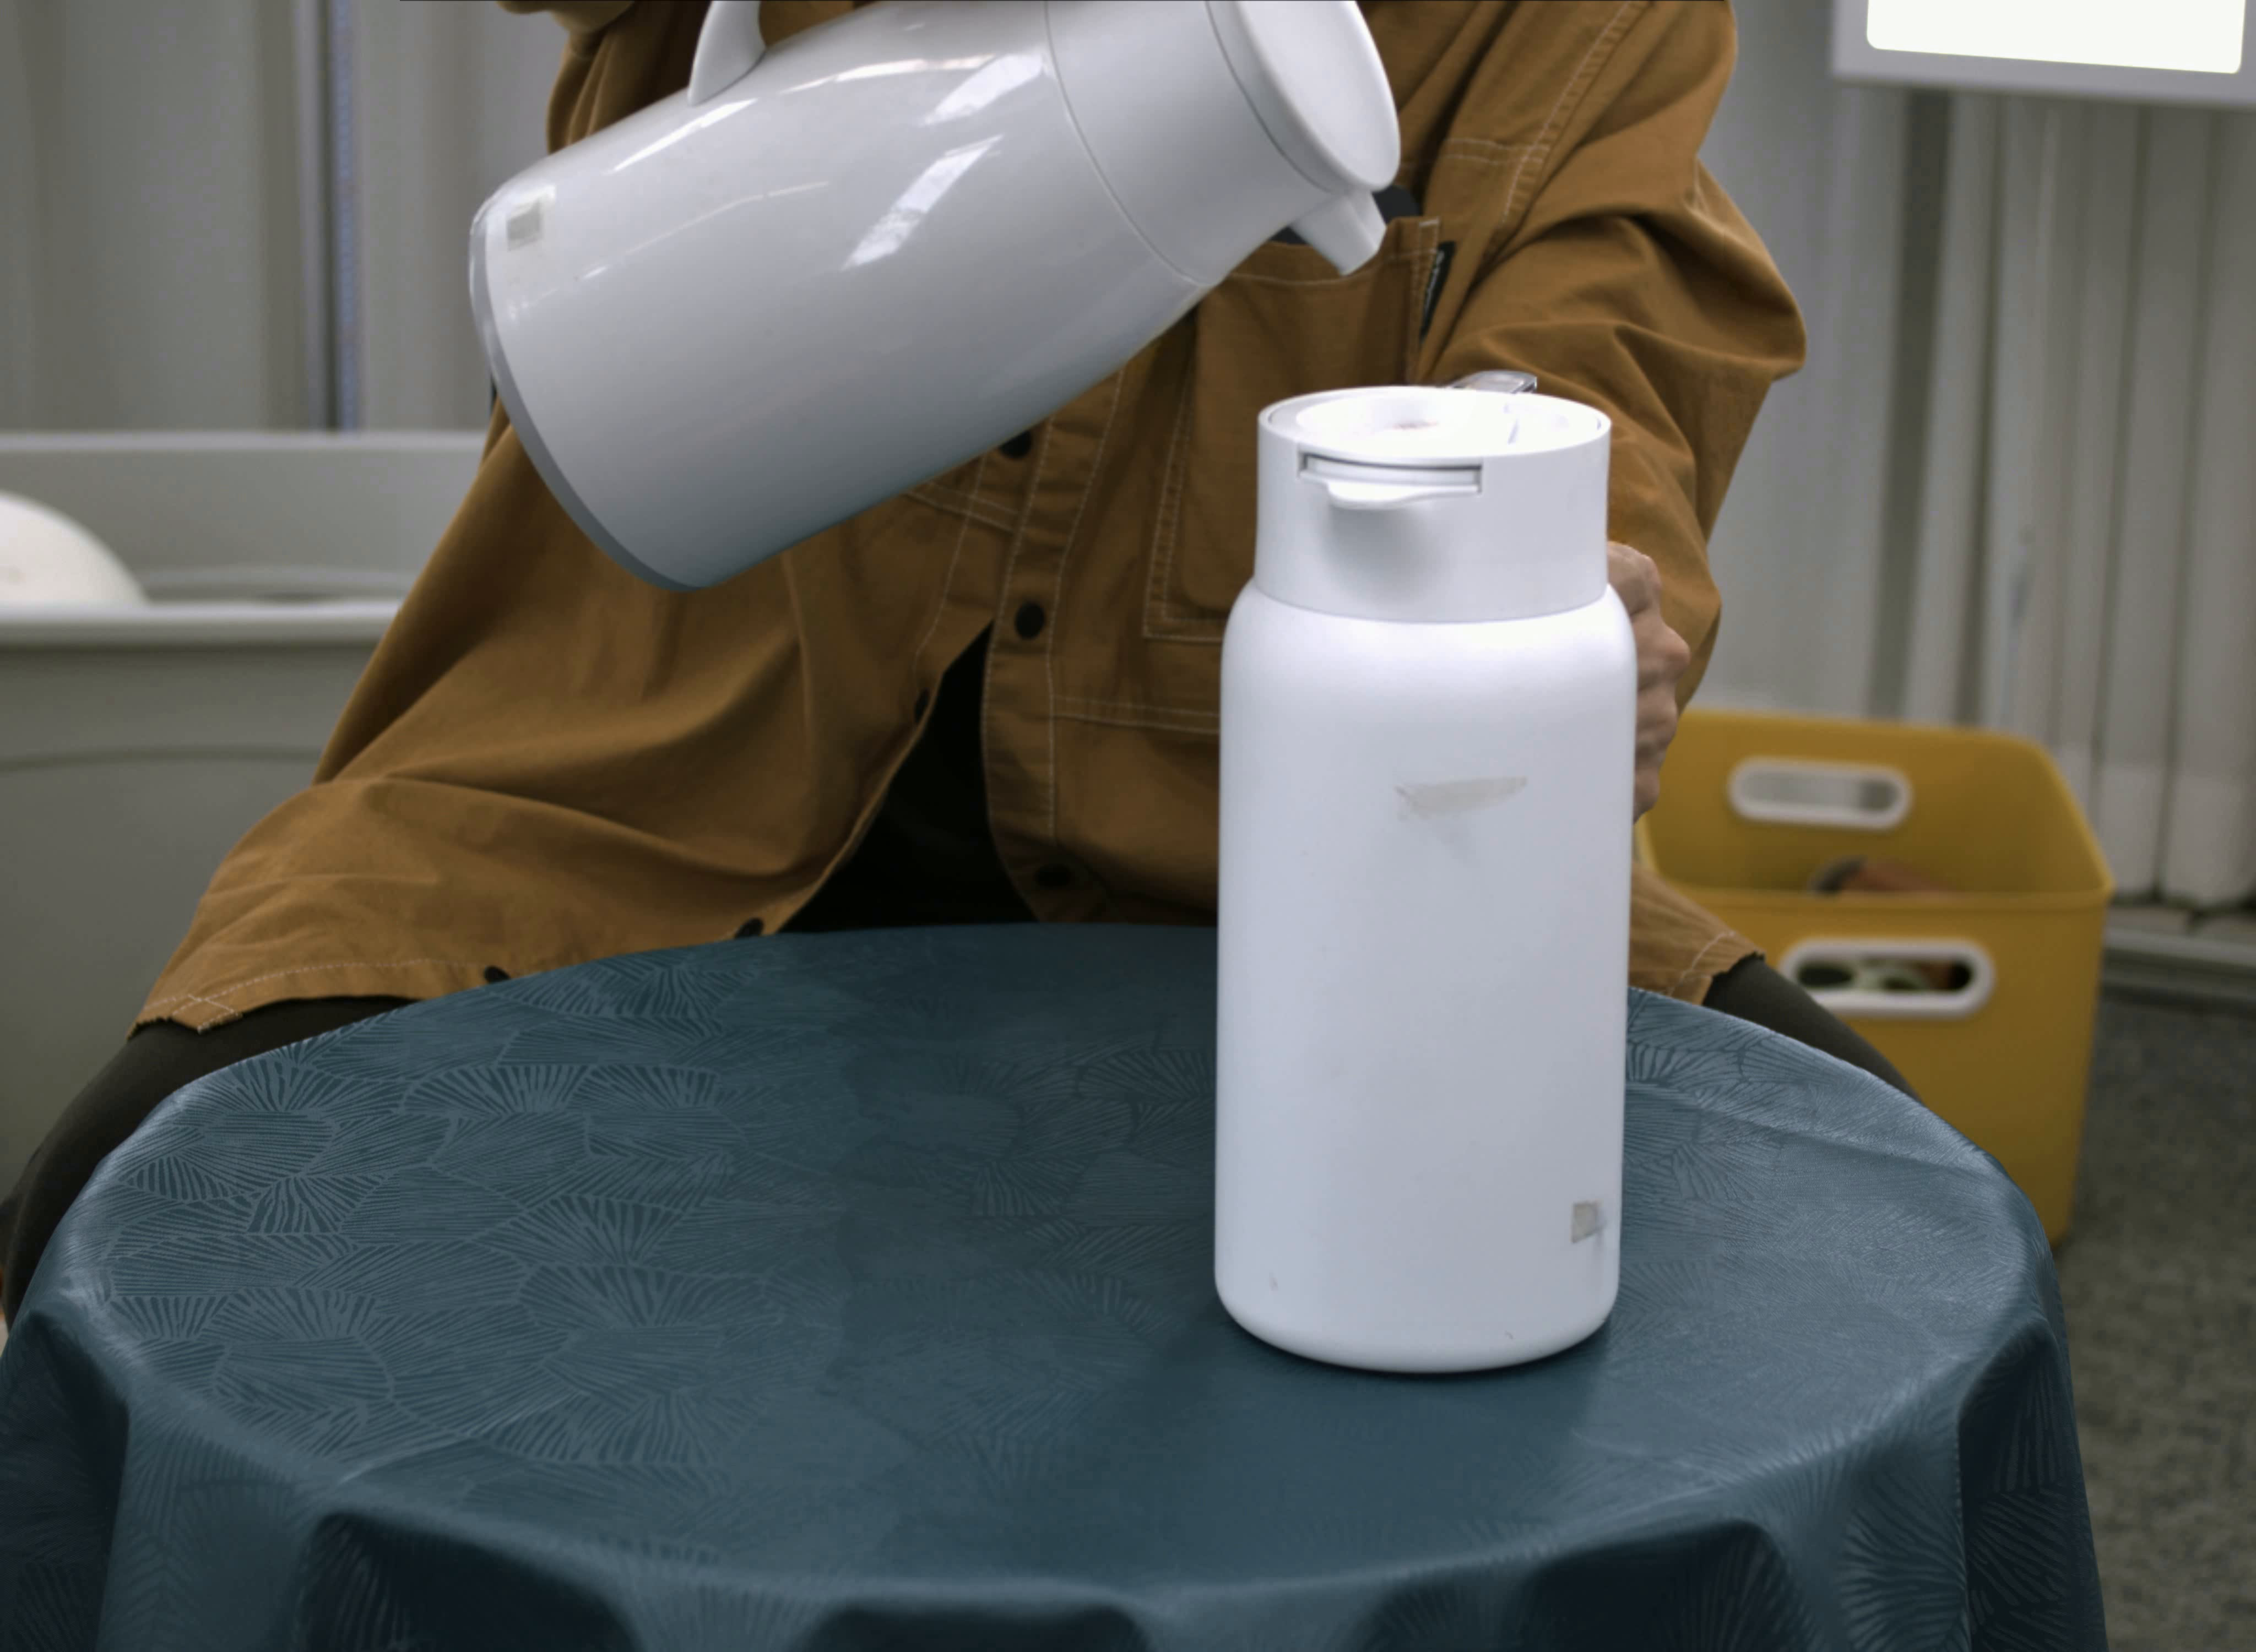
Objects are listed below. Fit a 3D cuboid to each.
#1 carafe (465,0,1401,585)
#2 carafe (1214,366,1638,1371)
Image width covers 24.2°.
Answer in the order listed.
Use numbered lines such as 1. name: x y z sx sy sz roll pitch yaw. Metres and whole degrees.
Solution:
1. carafe: -0.057 -0.190 1.457 0.247 0.169 0.132 -24 23 23
2. carafe: 0.088 0.007 1.502 0.123 0.271 0.173 4 16 19
